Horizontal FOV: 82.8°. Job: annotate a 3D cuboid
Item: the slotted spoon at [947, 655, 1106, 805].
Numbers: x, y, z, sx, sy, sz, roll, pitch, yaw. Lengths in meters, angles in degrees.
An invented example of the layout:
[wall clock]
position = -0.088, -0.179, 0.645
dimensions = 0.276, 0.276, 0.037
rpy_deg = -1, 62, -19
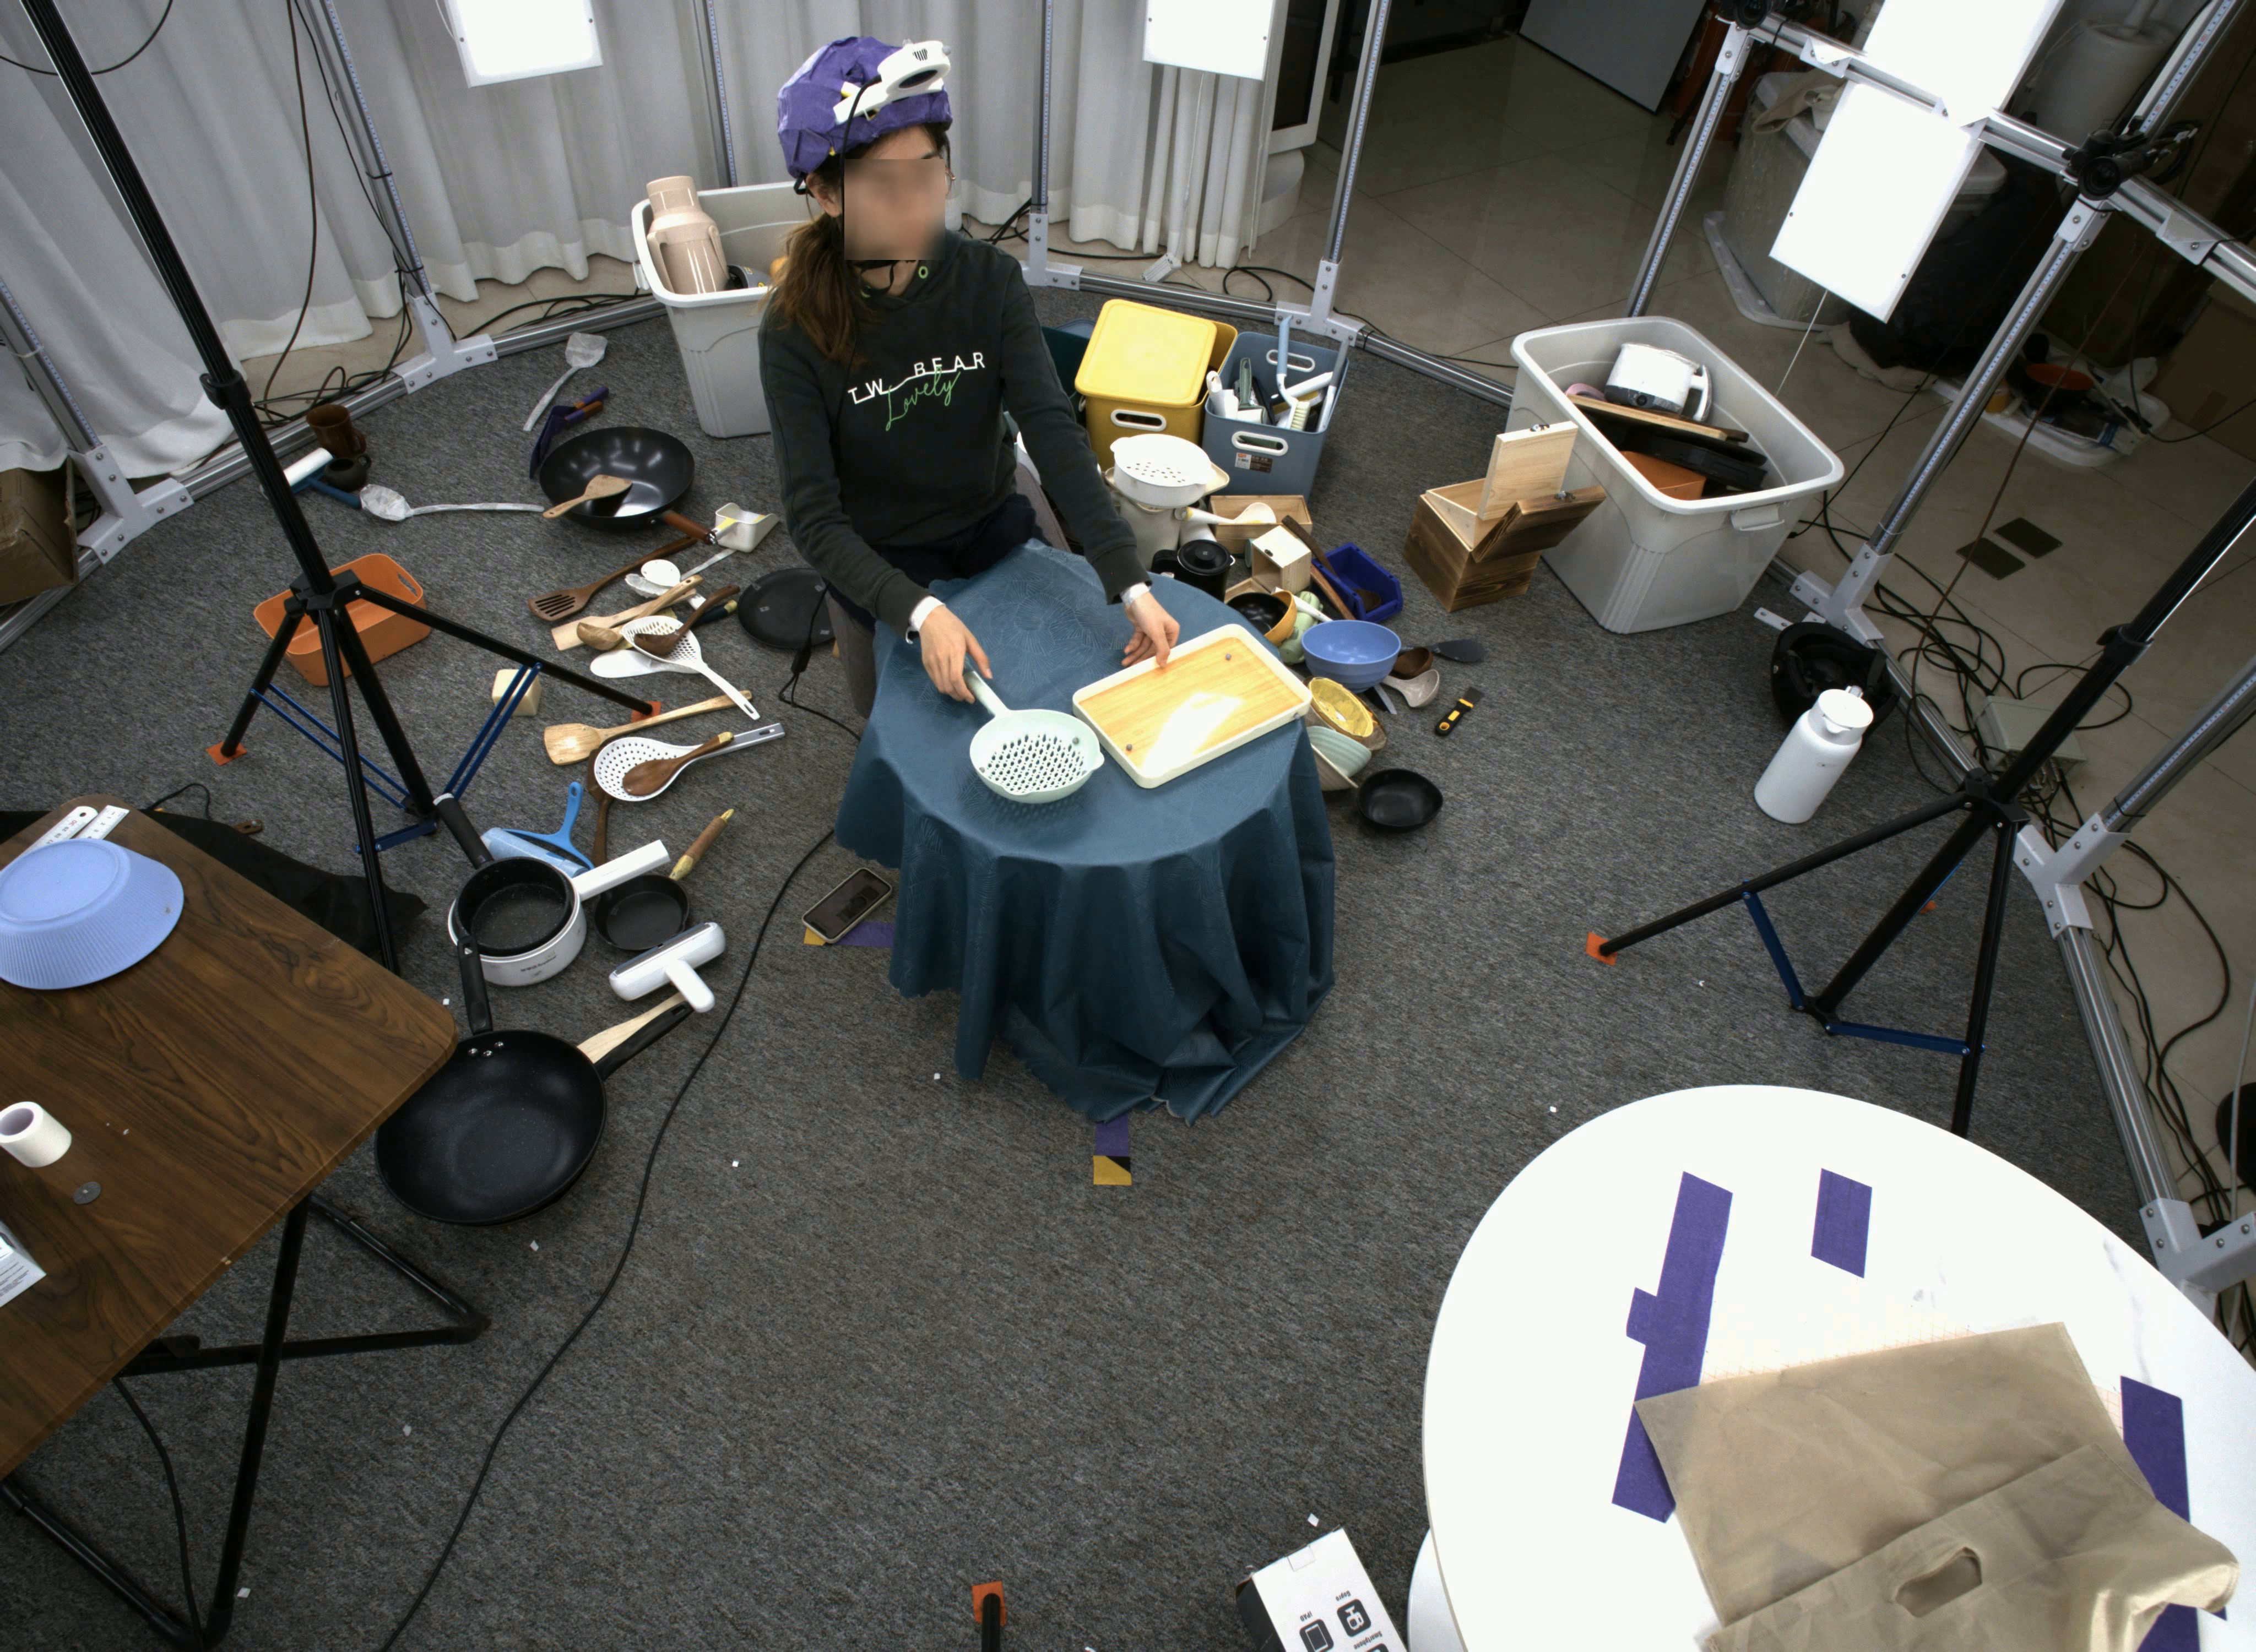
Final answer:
[slotted spoon]
position = -0.170, -0.148, 1.760
dimensions = 0.170, 0.073, 0.366
rpy_deg = -20, 53, -22

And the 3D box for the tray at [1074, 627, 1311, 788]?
[tray]
position = 0.092, -0.174, 1.825
dimensions = 0.301, 0.027, 0.195
rpy_deg = -26, 55, -24
